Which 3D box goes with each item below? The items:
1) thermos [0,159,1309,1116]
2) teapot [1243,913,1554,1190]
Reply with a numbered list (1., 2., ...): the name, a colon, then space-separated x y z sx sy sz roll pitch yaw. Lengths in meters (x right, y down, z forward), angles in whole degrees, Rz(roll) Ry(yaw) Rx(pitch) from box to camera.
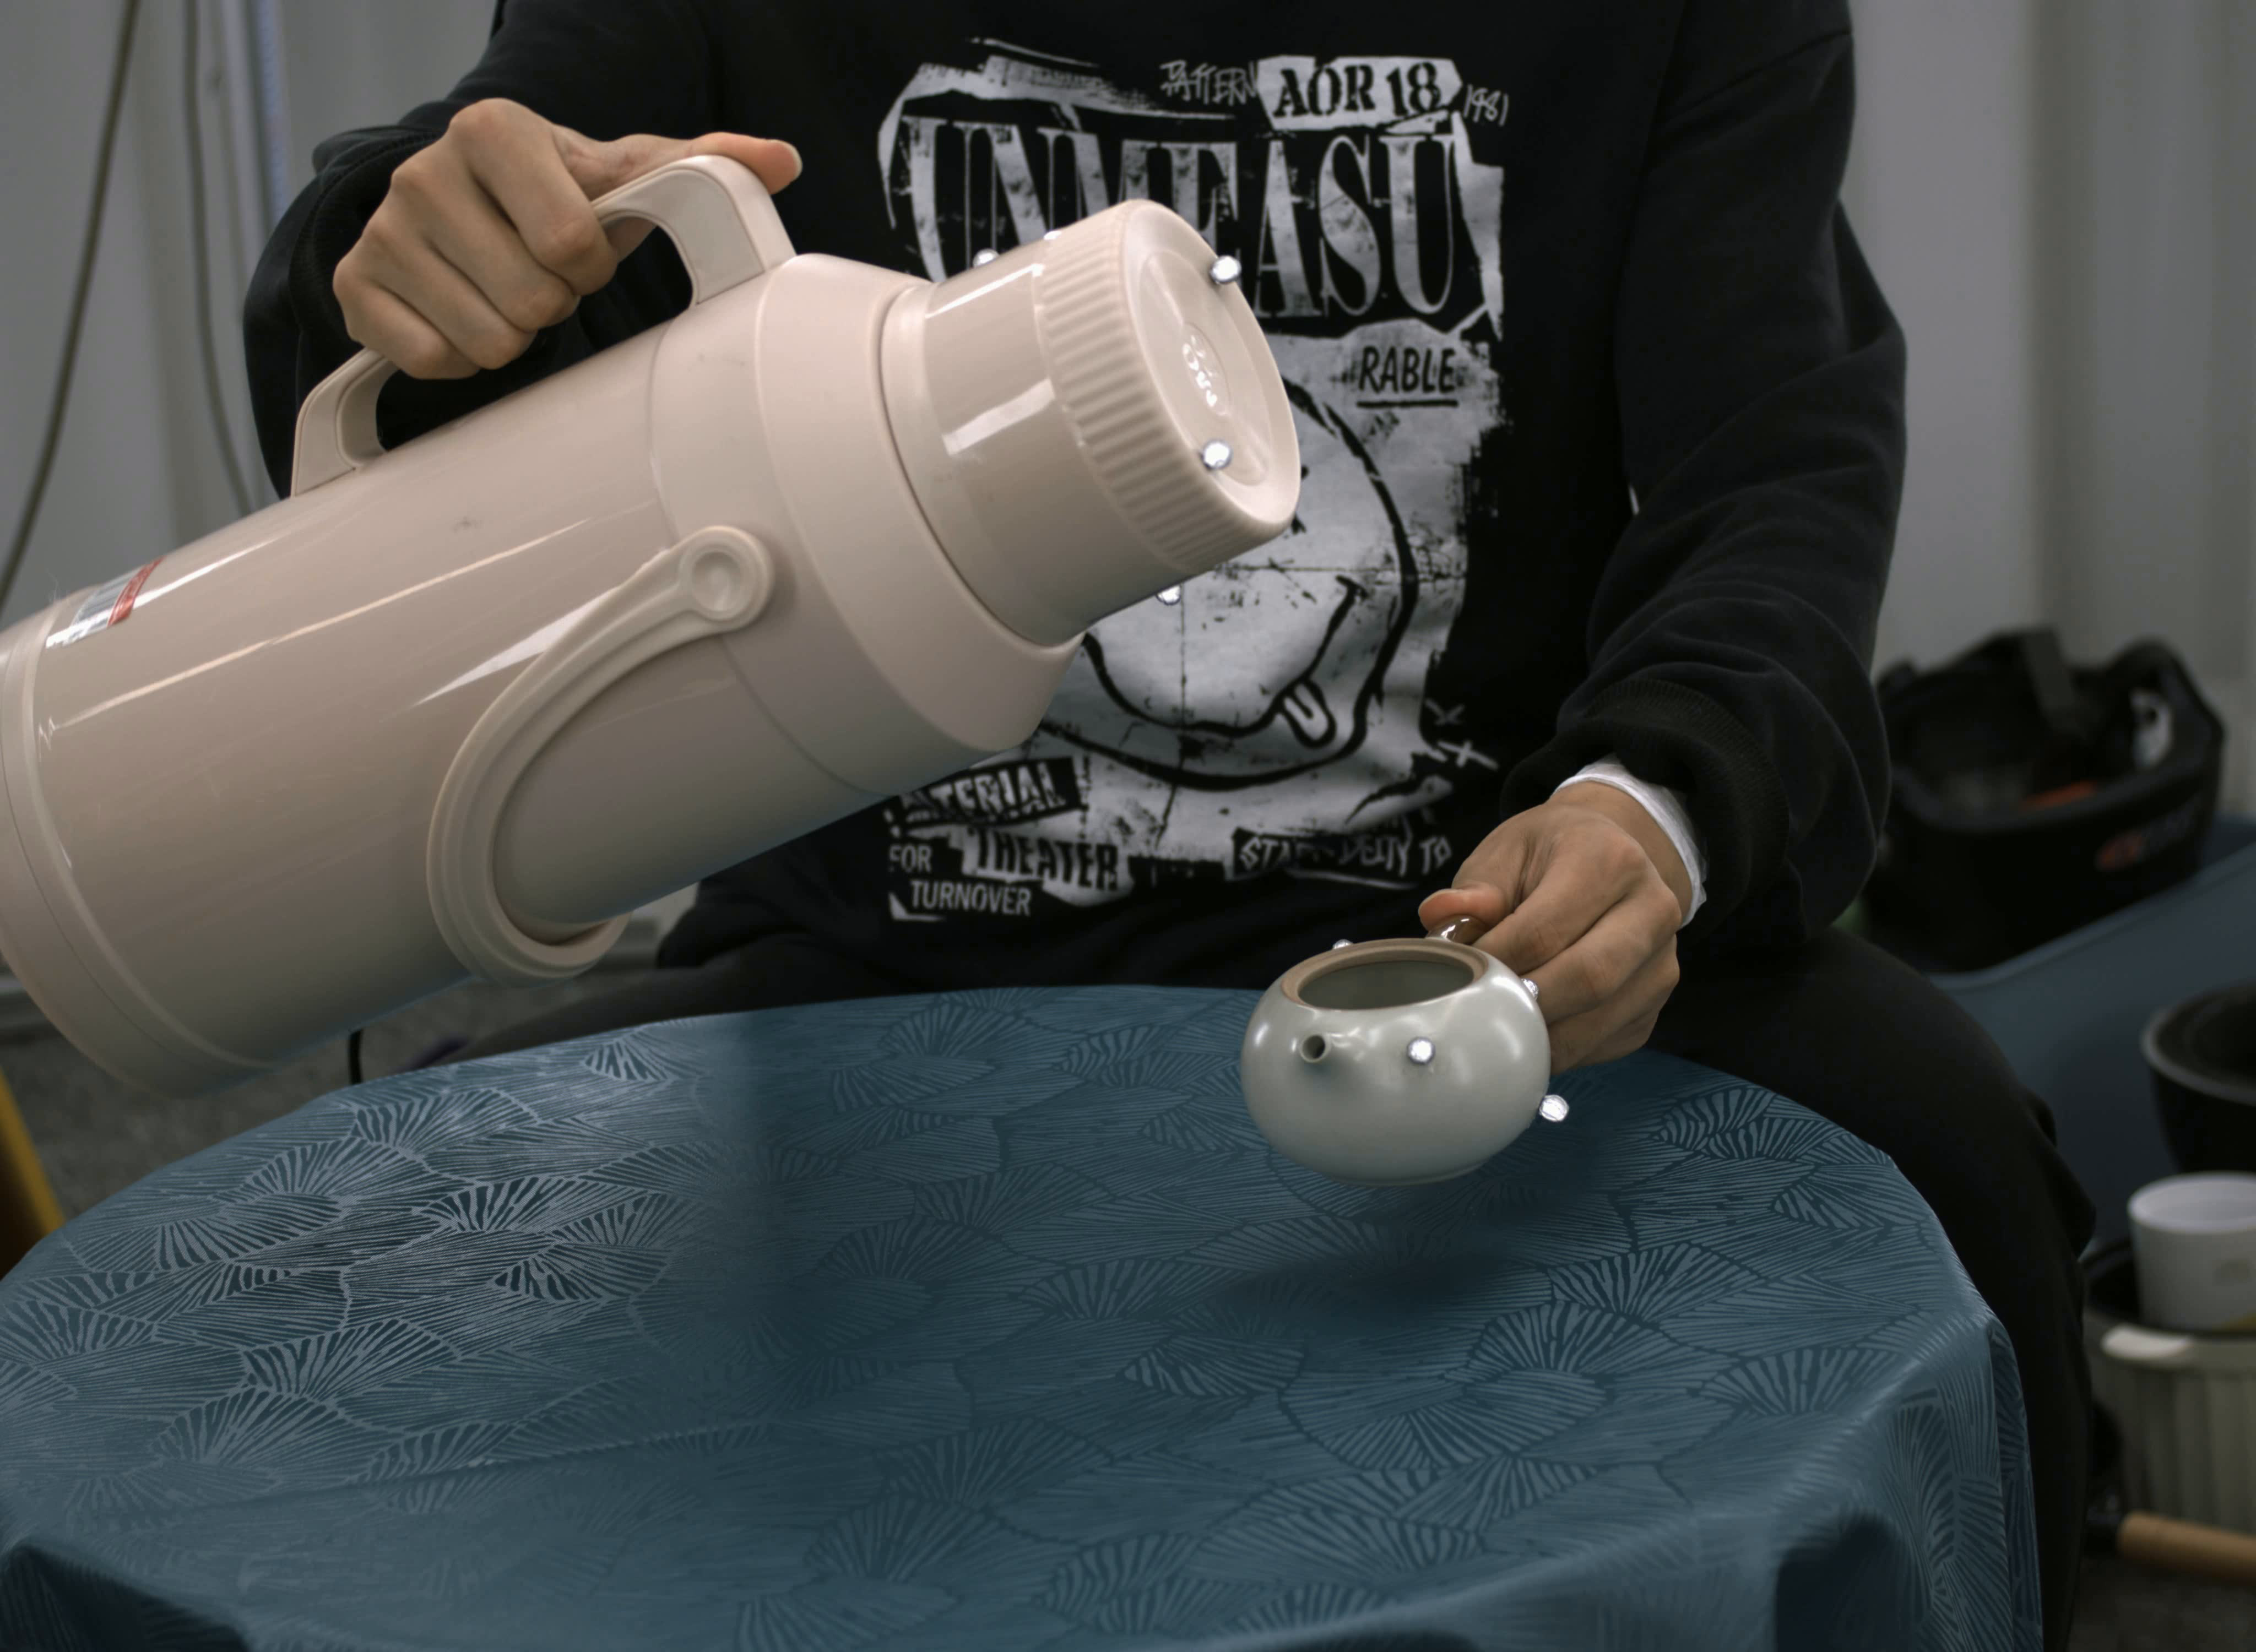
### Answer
1. thermos: -0.148 -0.070 1.629 0.405 0.207 0.175 -24 2 25
2. teapot: 0.083 0.067 1.613 0.092 0.059 0.128 -2 18 26
